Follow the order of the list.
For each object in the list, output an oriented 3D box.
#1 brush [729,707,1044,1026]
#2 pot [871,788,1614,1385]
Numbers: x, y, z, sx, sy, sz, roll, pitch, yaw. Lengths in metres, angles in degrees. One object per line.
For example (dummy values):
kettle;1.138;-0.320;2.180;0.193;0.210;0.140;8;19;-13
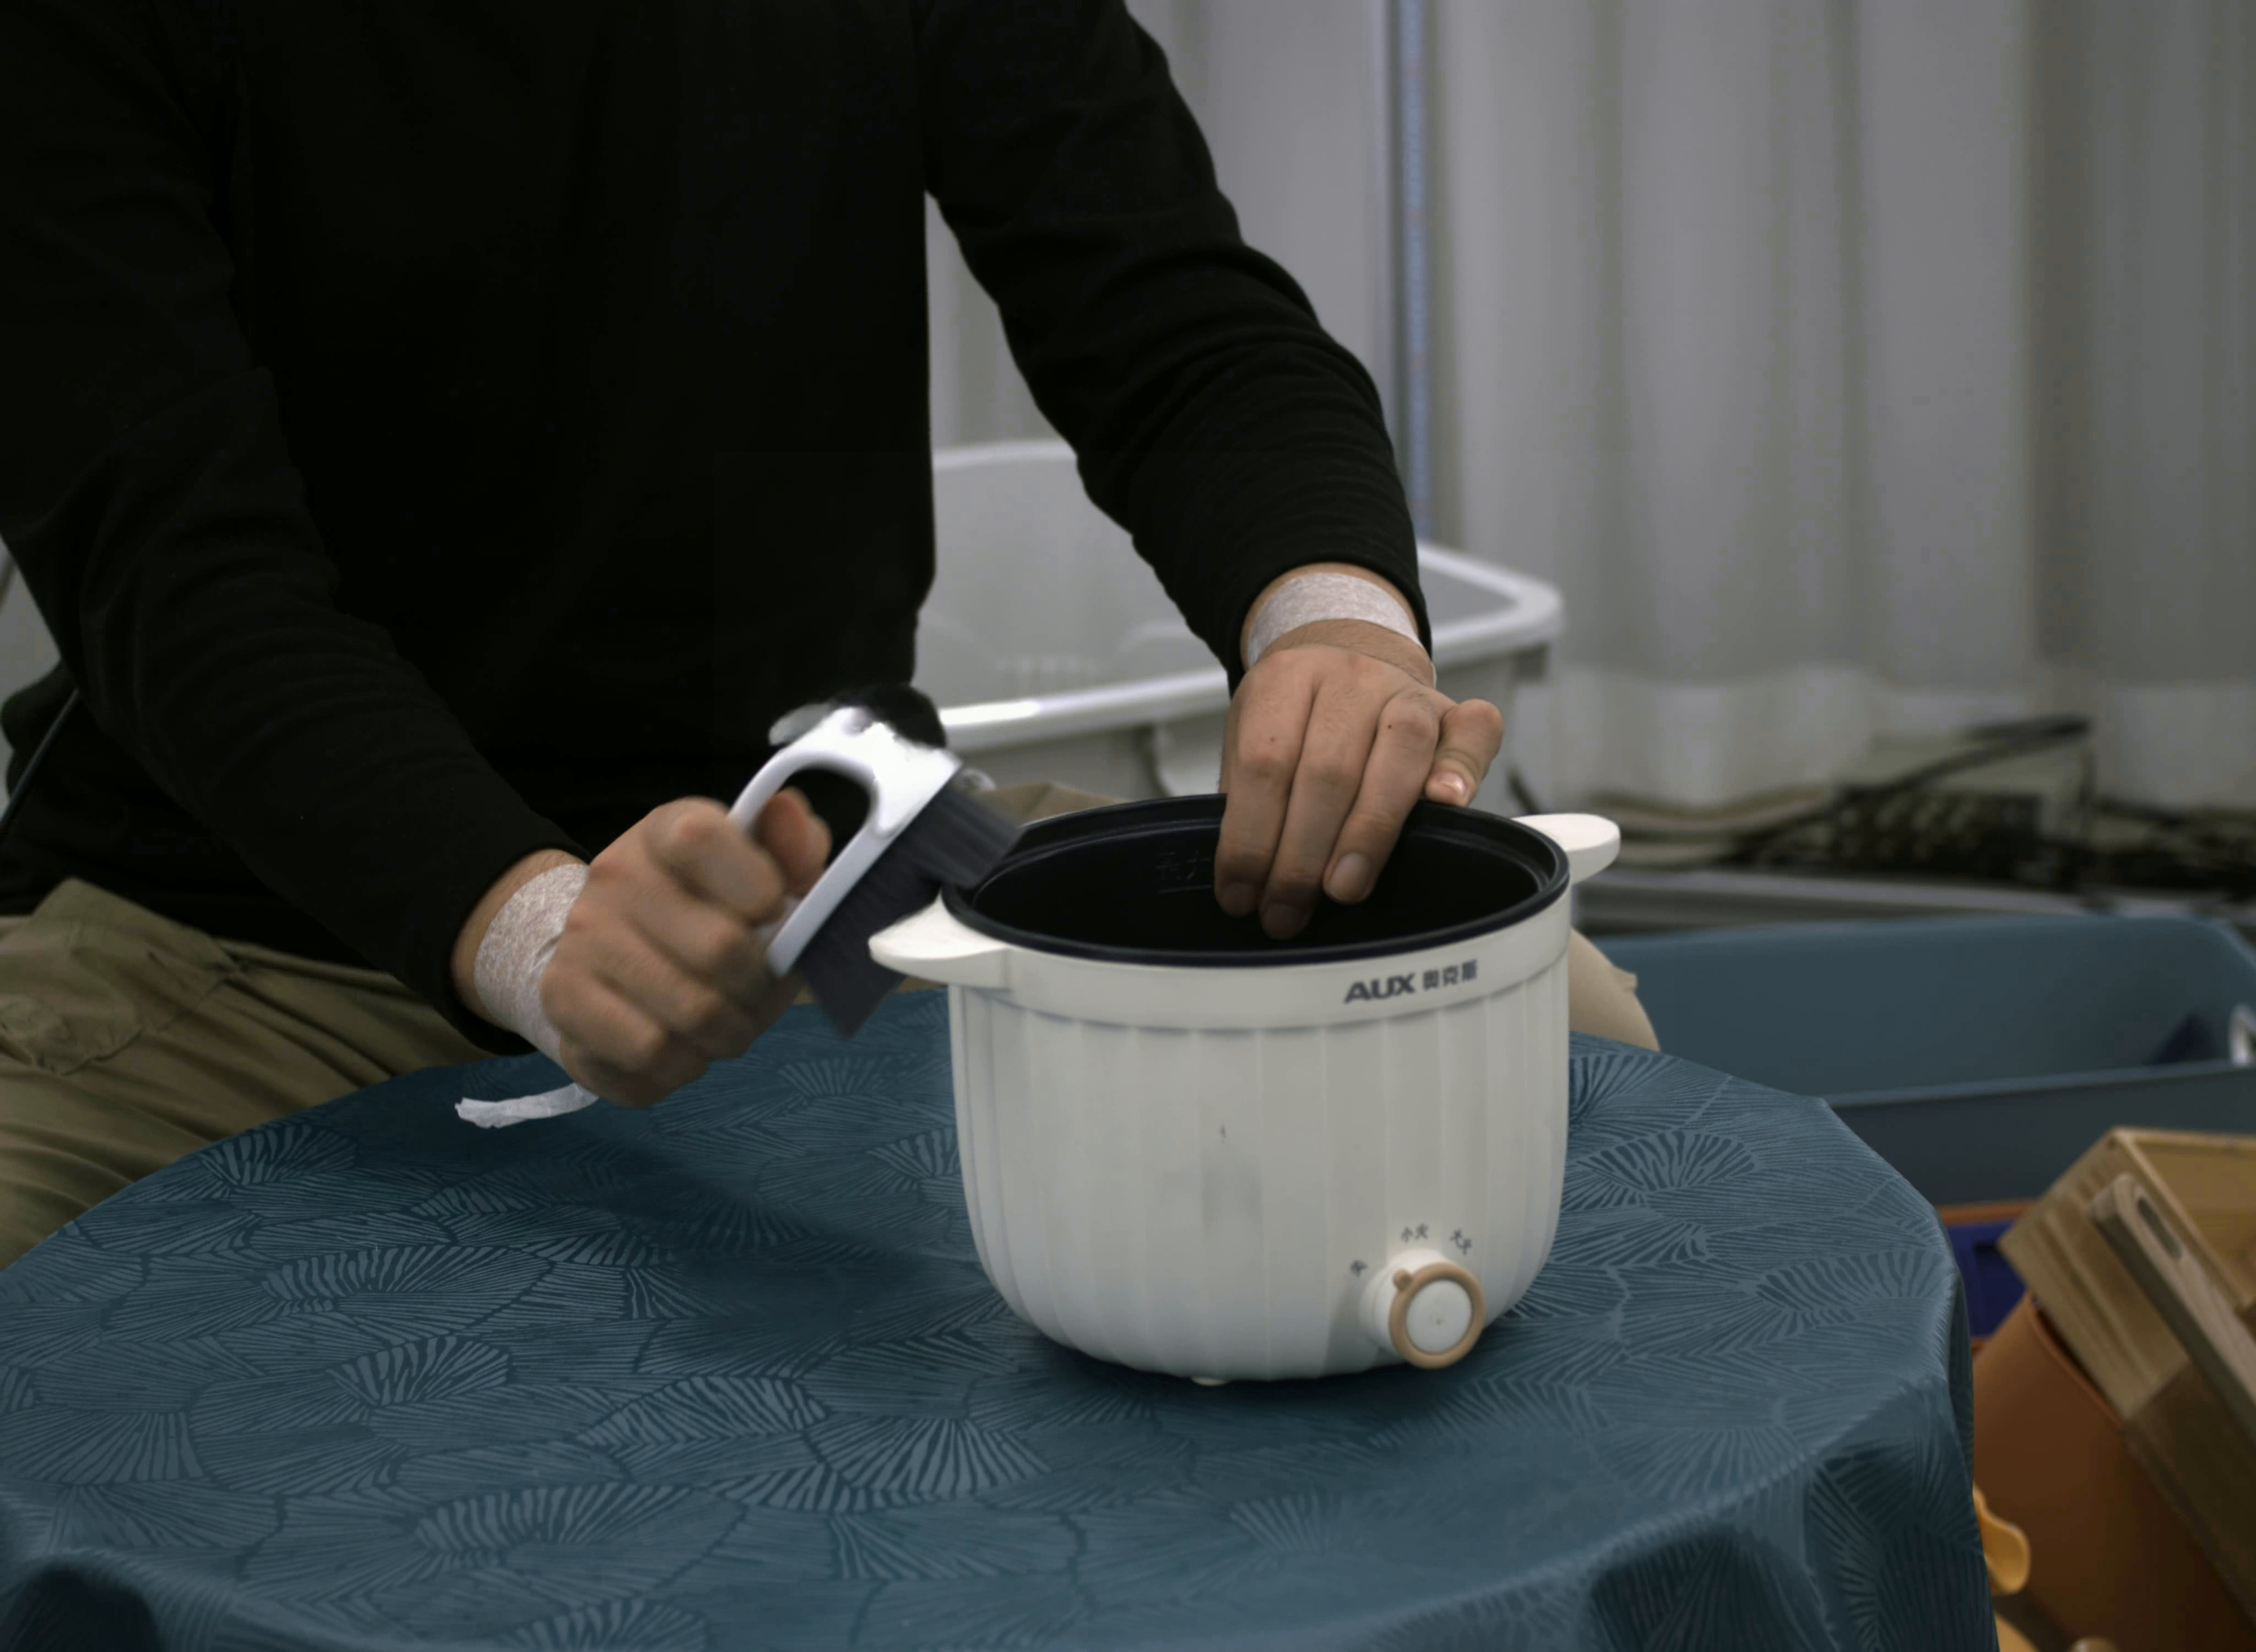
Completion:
brush;-0.079;0.005;1.614;0.072;0.098;0.050;40;43;0
pot;0.042;0.077;1.578;0.239;0.142;0.192;-11;13;-26
